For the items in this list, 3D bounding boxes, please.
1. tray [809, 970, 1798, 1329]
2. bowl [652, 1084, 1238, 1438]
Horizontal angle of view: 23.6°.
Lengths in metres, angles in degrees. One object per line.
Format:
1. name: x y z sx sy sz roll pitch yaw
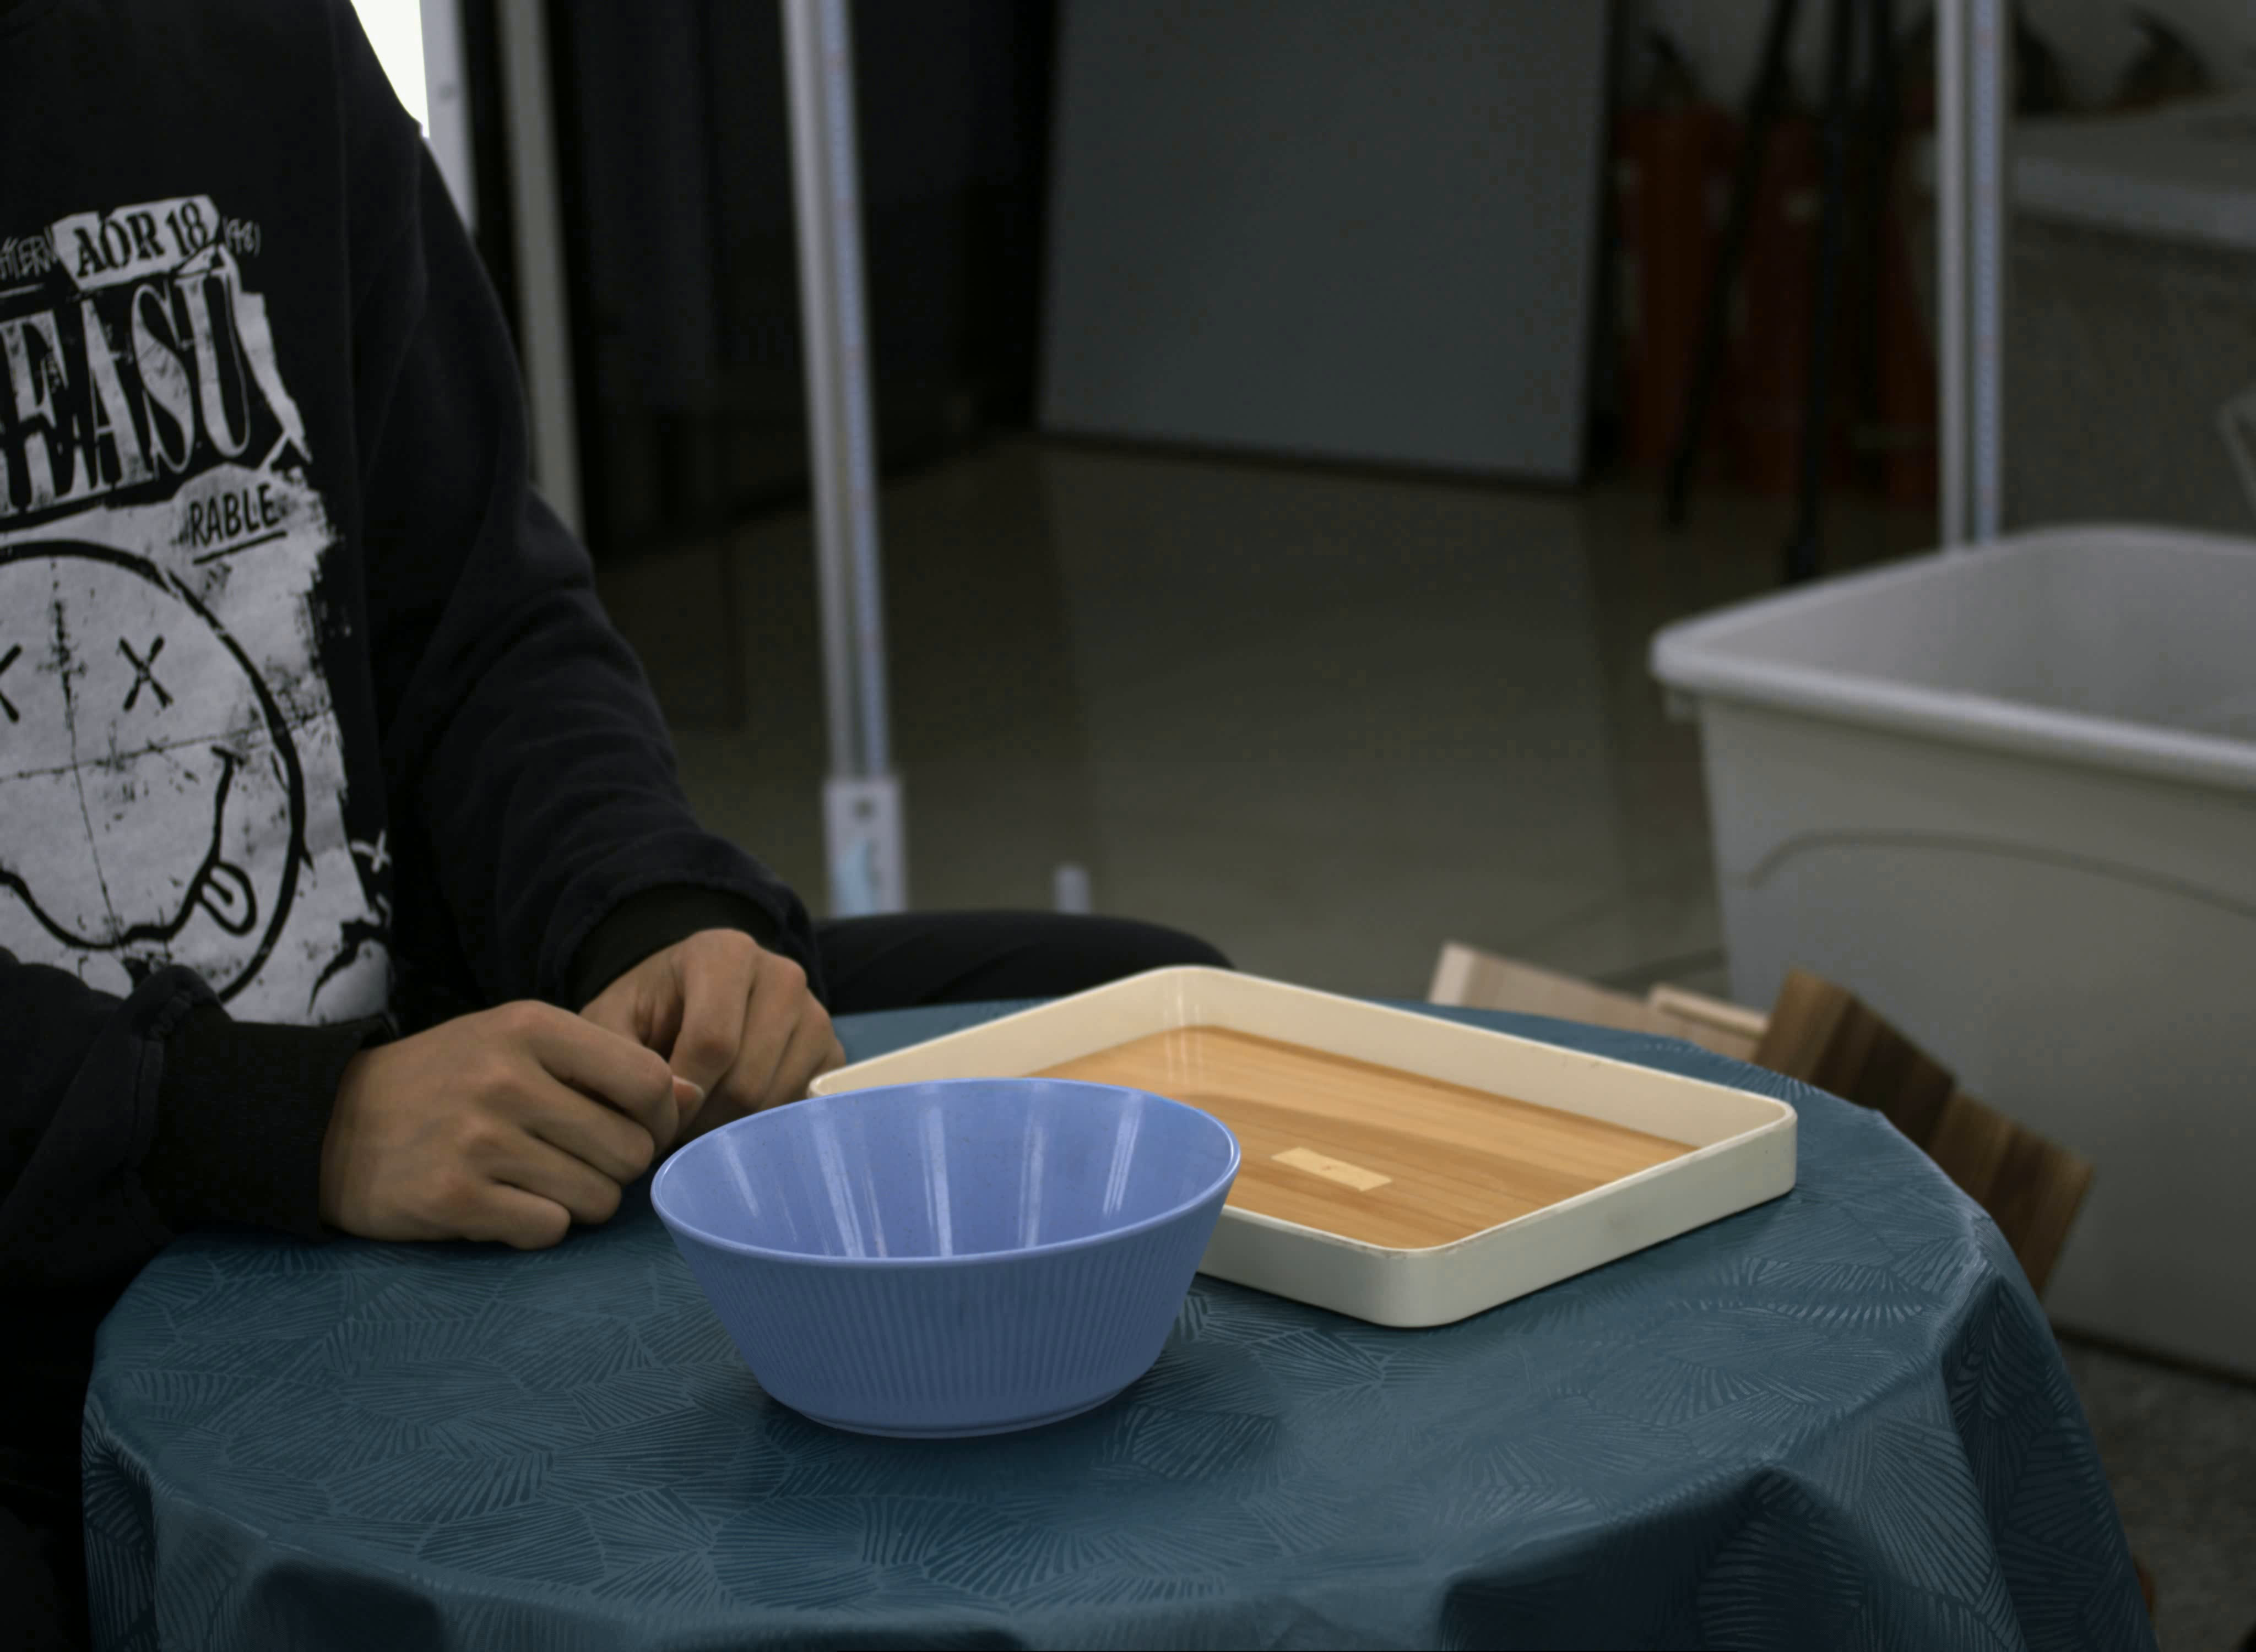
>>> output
1. tray: 0.054 0.103 1.776 0.187 0.028 0.303 -16 18 -40
2. bowl: -0.052 0.131 1.598 0.174 0.071 0.176 -3 13 0
